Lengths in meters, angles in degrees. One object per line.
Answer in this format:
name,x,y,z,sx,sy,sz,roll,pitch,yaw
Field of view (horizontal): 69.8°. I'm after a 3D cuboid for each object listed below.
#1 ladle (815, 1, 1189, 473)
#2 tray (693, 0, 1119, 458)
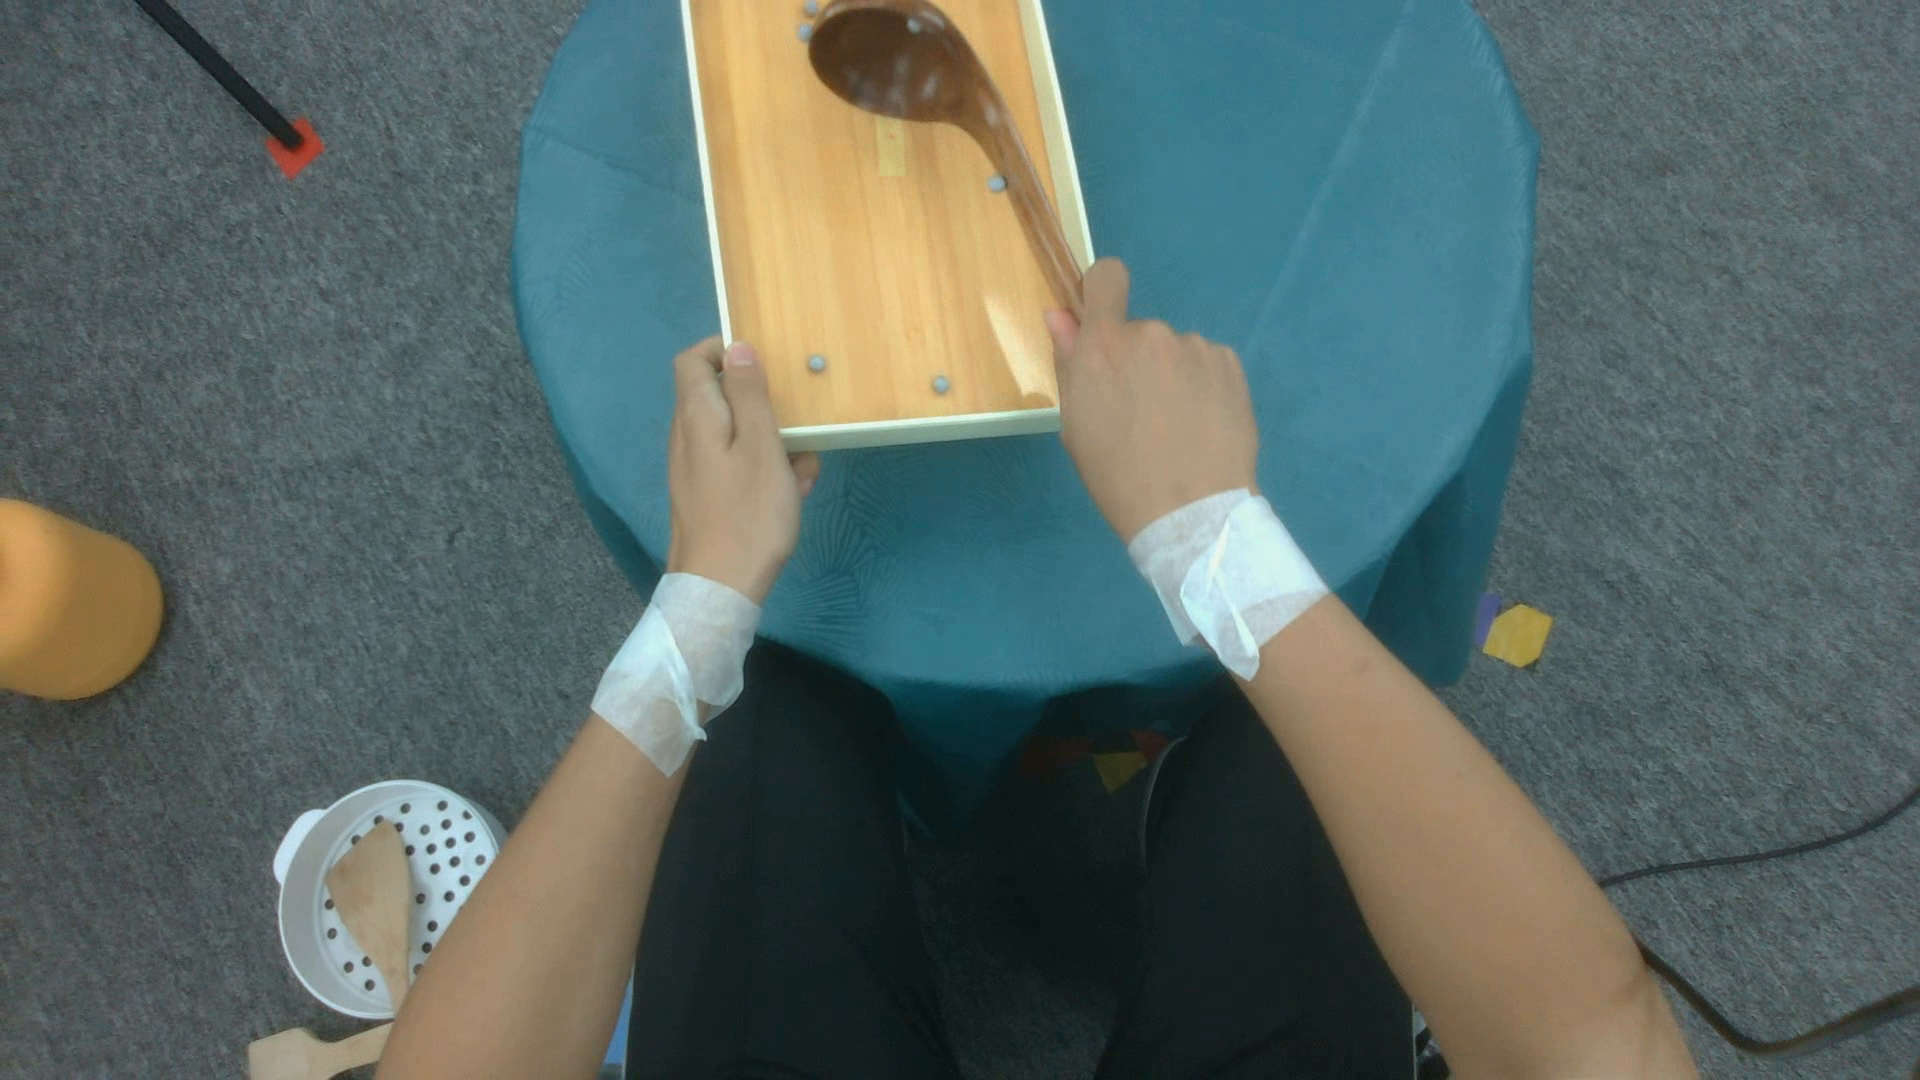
ladle,0.015,-0.141,0.656,0.076,0.082,0.274,-24,76,-6
tray,-0.034,-0.191,0.724,0.192,0.027,0.301,-5,72,-12
